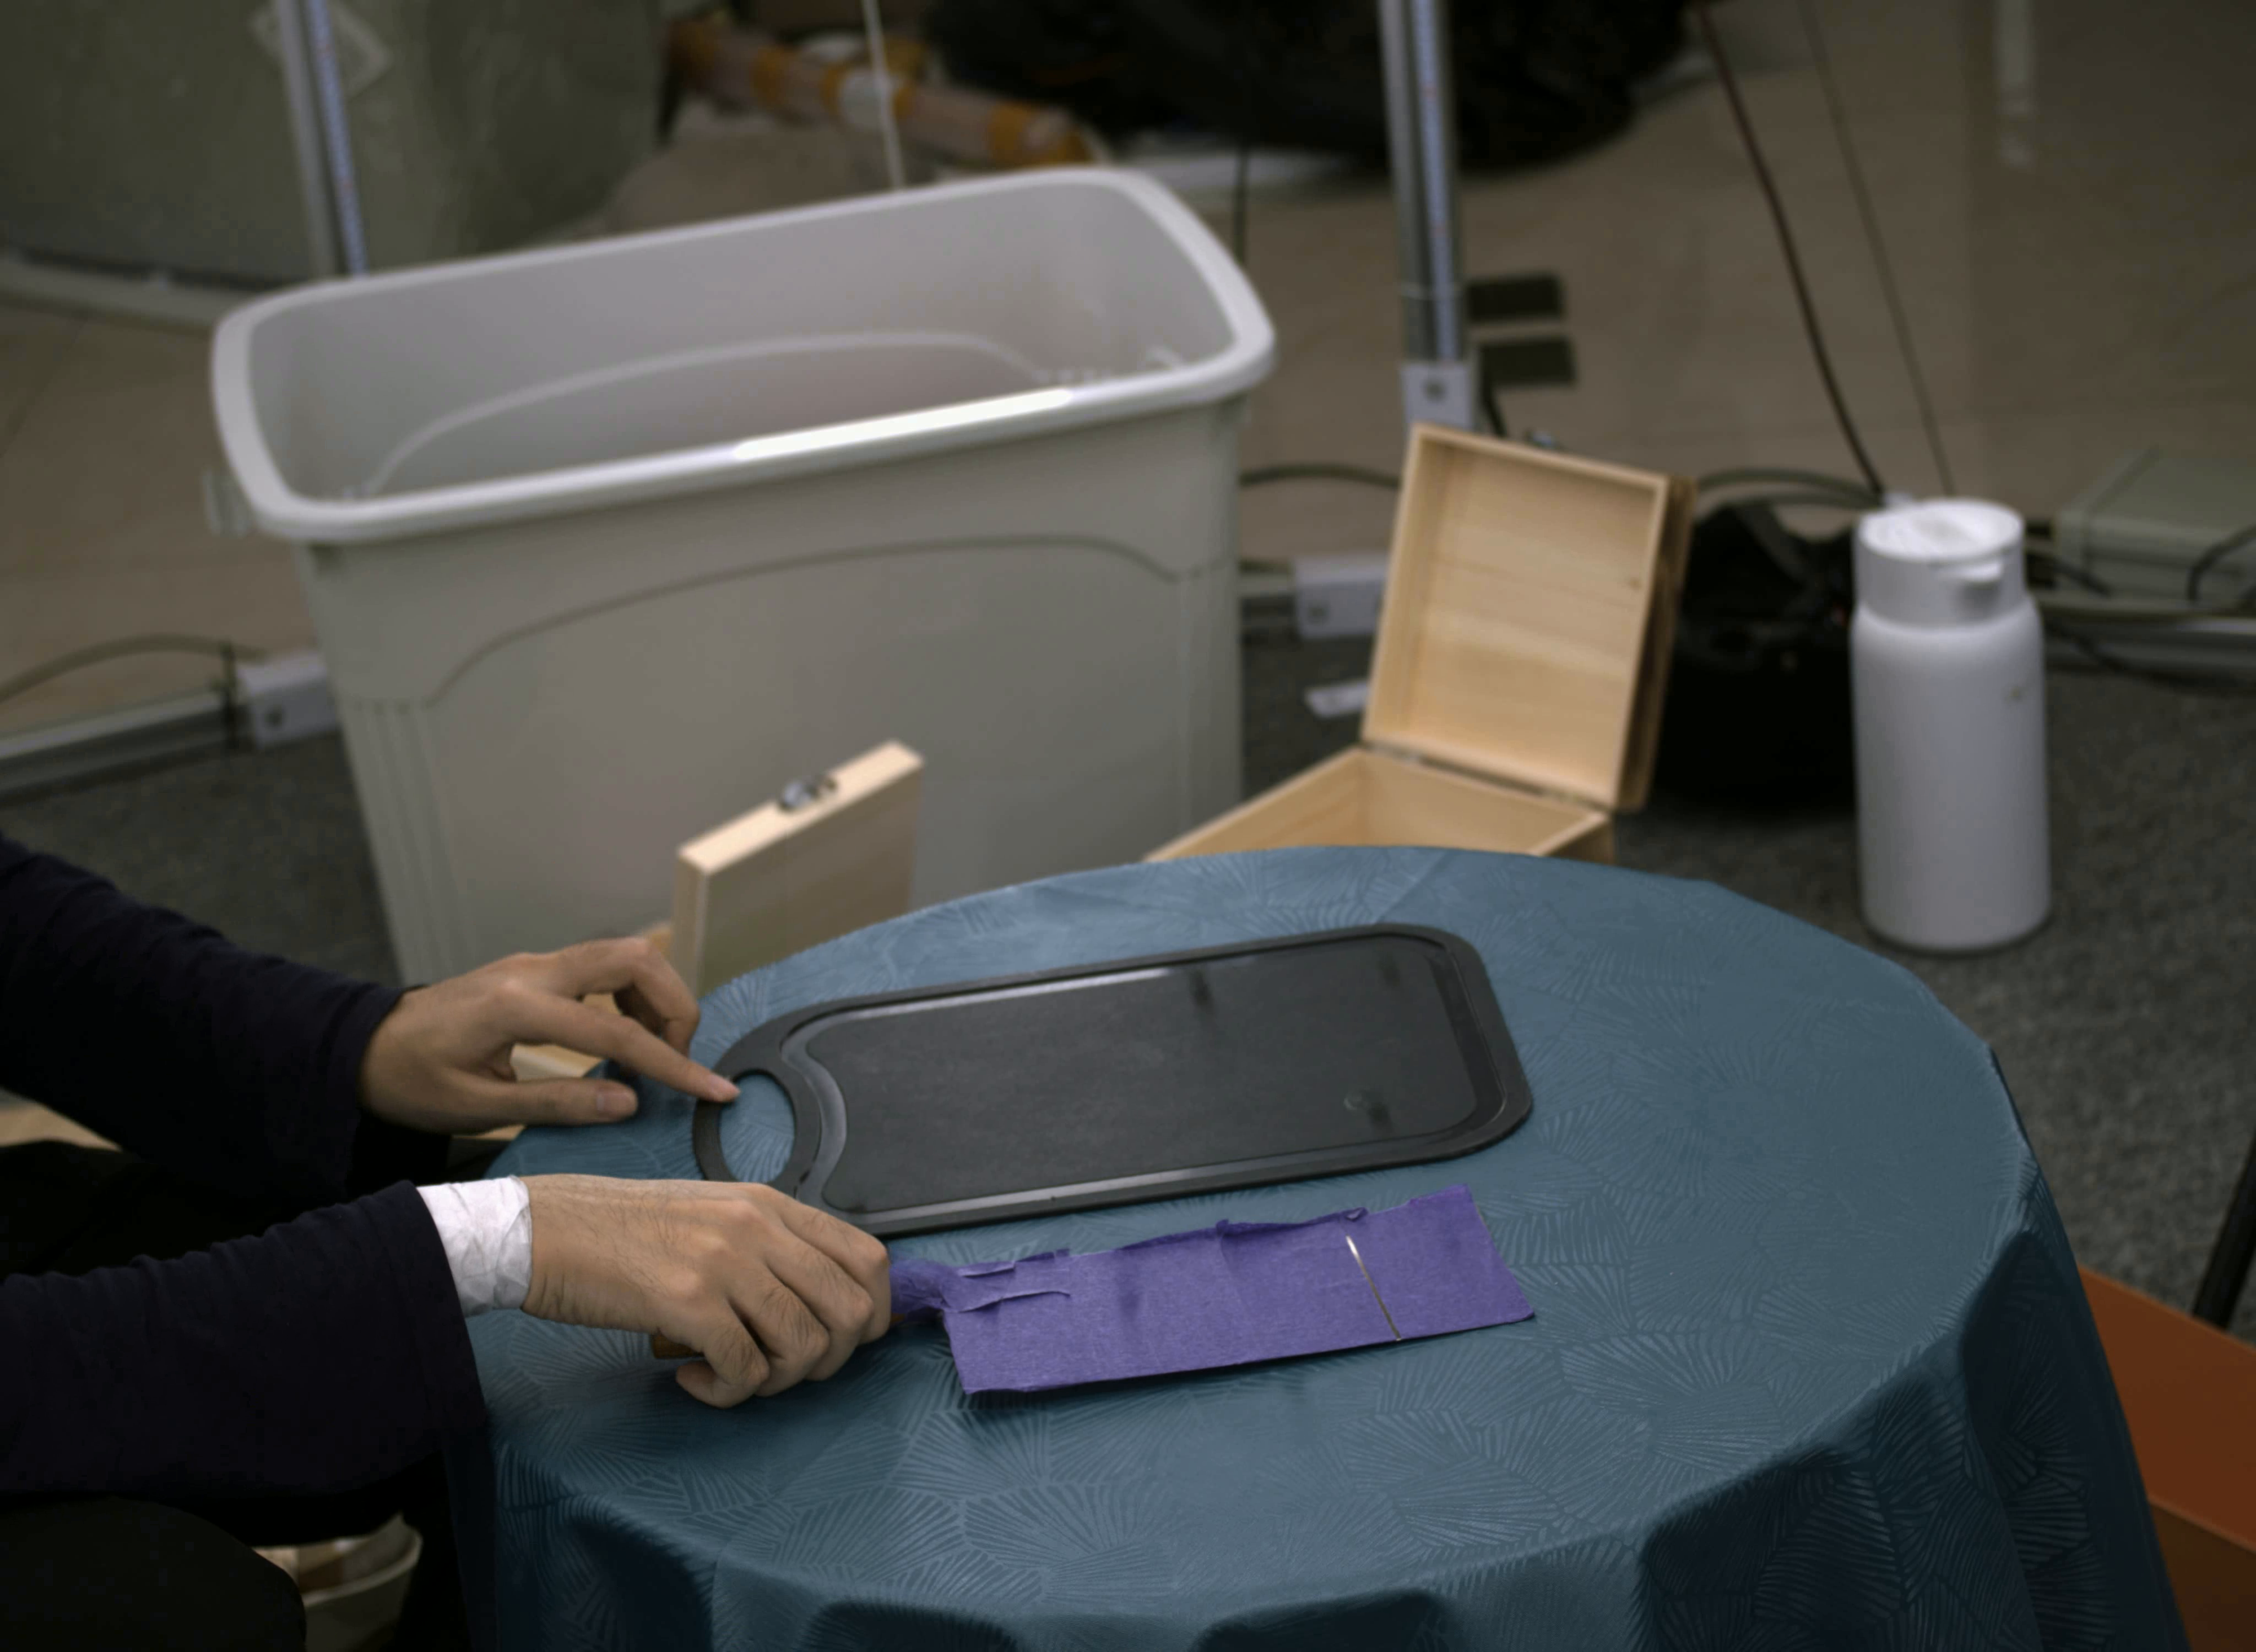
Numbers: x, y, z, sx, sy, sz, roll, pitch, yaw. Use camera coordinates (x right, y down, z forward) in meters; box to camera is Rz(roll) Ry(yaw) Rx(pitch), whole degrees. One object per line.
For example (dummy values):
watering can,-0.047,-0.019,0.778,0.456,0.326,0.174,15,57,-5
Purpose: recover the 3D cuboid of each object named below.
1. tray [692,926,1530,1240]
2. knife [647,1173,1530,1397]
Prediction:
tray,-0.011,0.099,2.233,0.325,0.010,0.208,-8,24,-2
knife,-0.014,0.172,2.052,0.314,0.033,0.102,-10,25,-7
